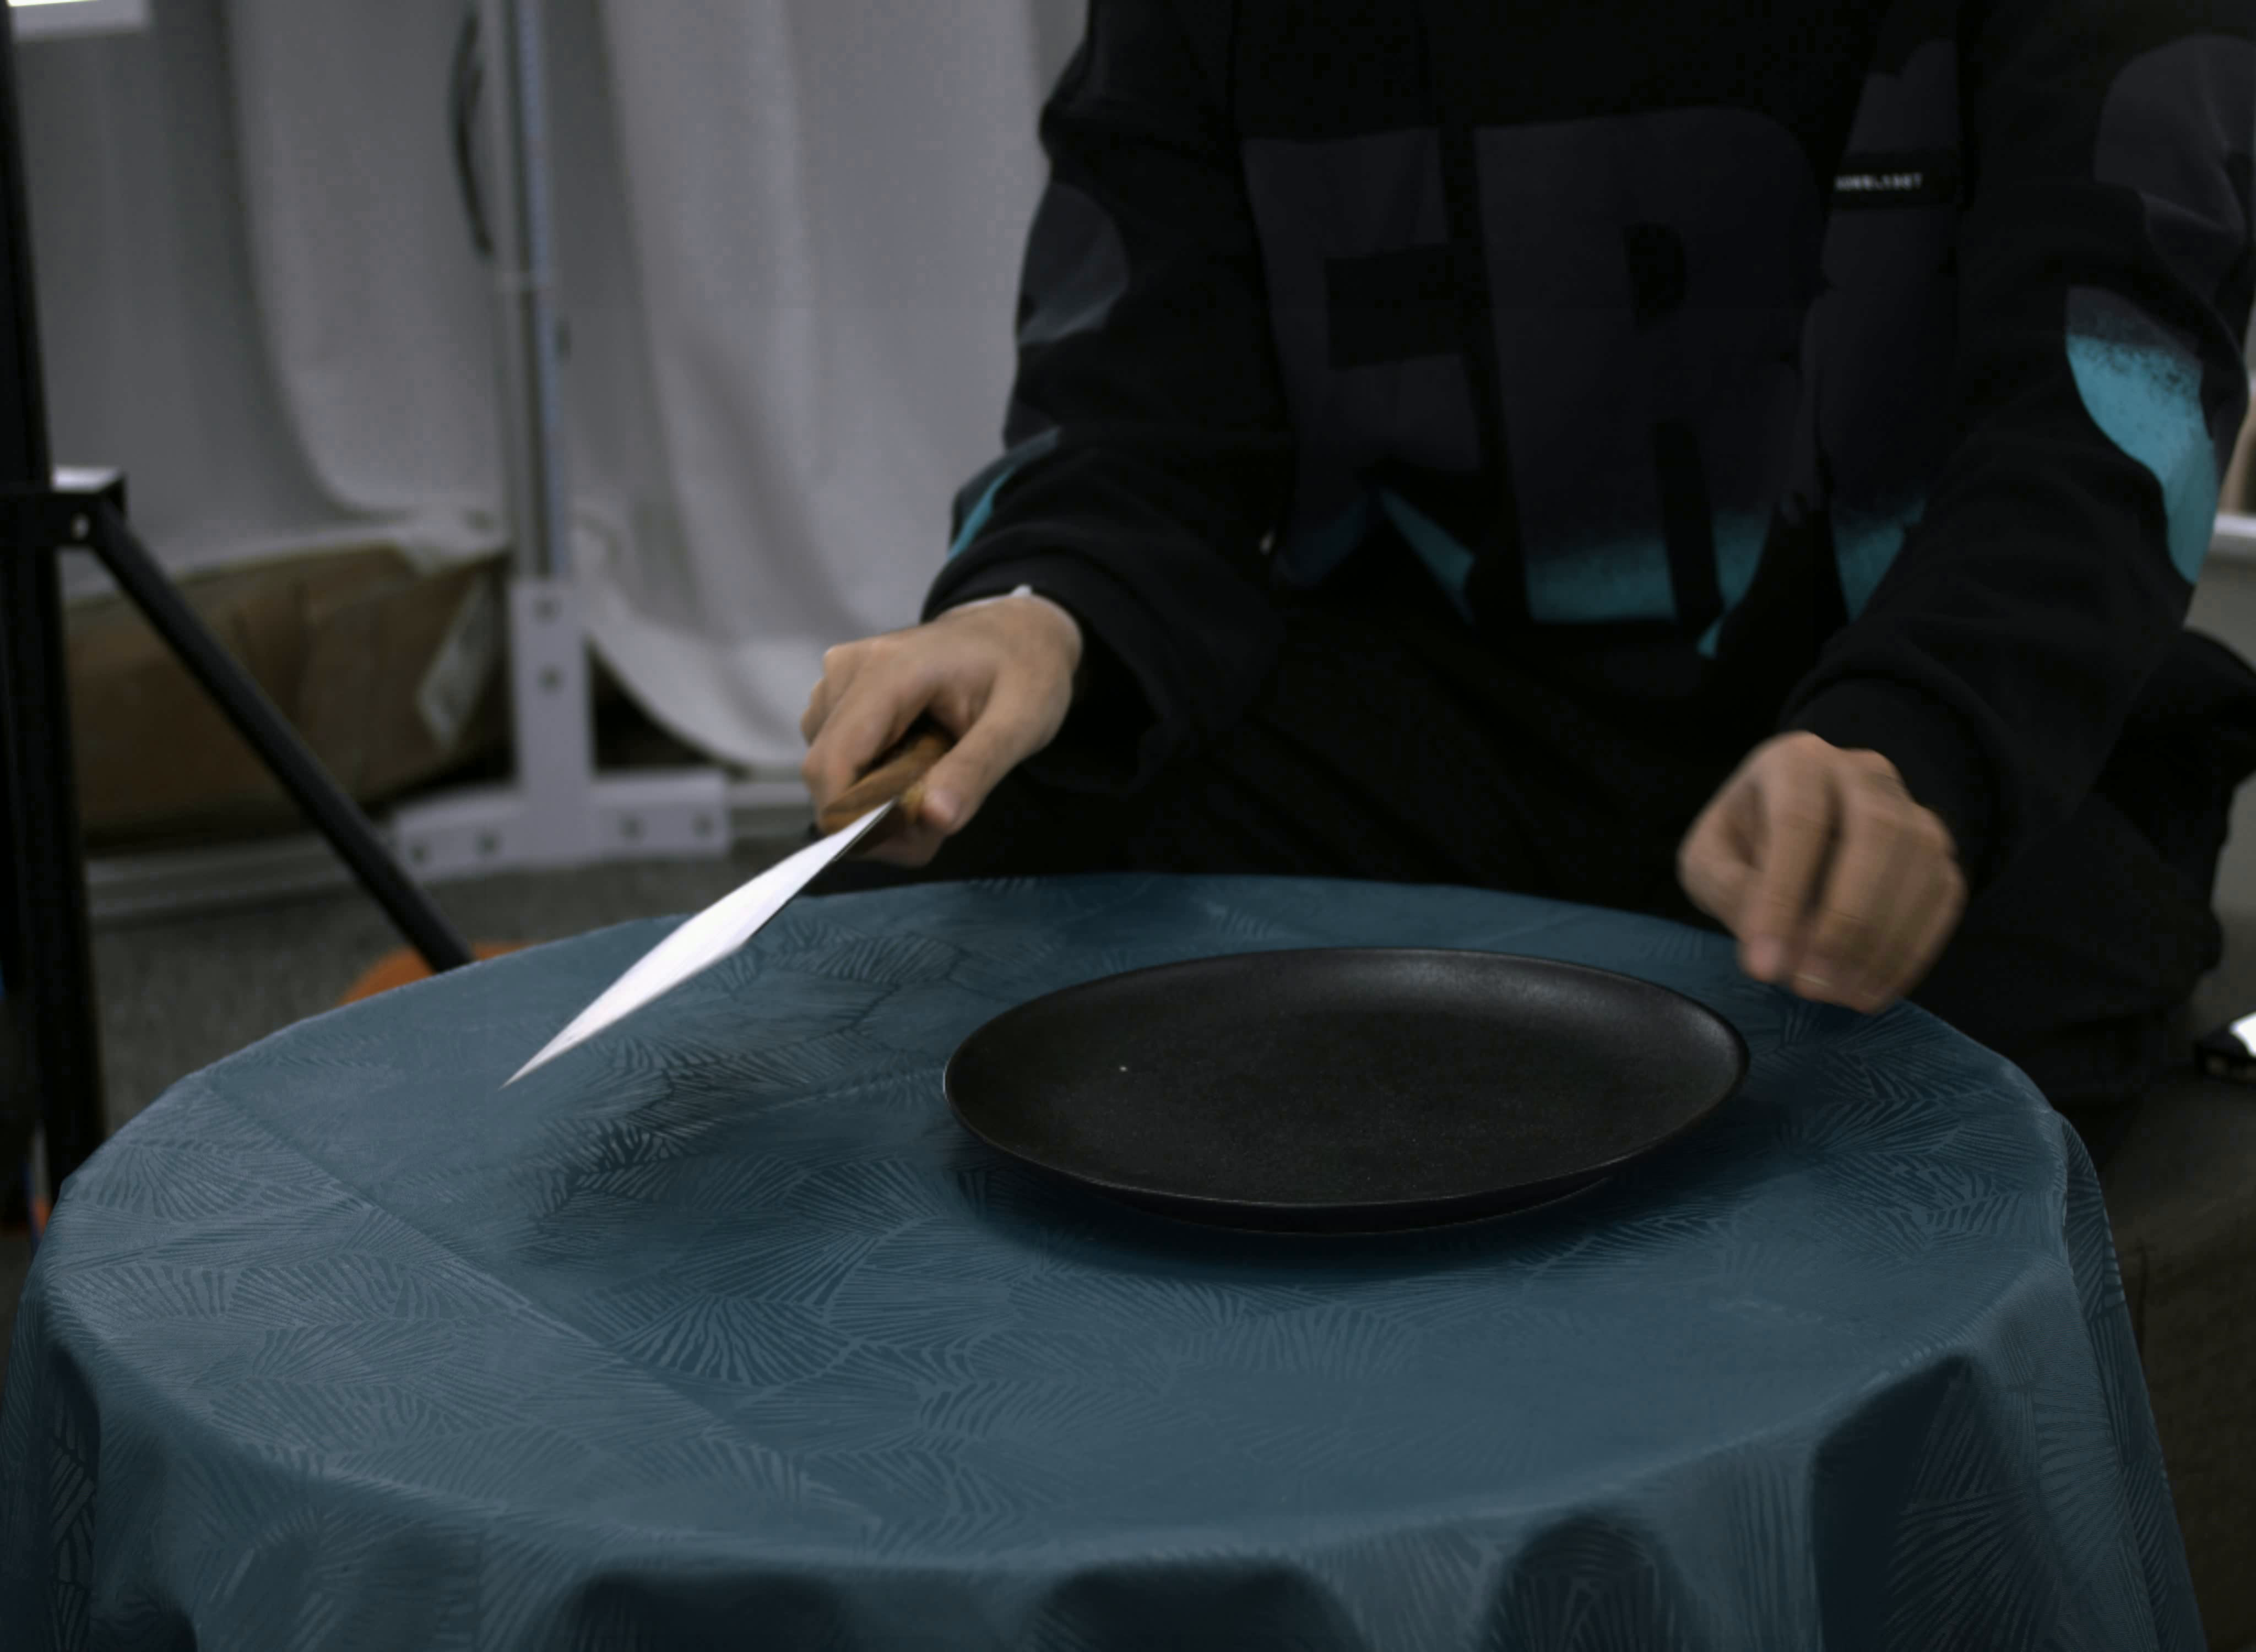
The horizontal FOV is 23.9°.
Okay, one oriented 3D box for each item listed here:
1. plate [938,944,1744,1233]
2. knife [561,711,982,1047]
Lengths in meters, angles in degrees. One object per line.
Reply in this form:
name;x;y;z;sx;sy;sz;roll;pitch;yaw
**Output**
plate;0.064;0.081;1.596;0.243;0.023;0.245;-3;16;-1
knife;-0.111;0.018;1.669;0.093;0.021;0.304;-32;5;16
